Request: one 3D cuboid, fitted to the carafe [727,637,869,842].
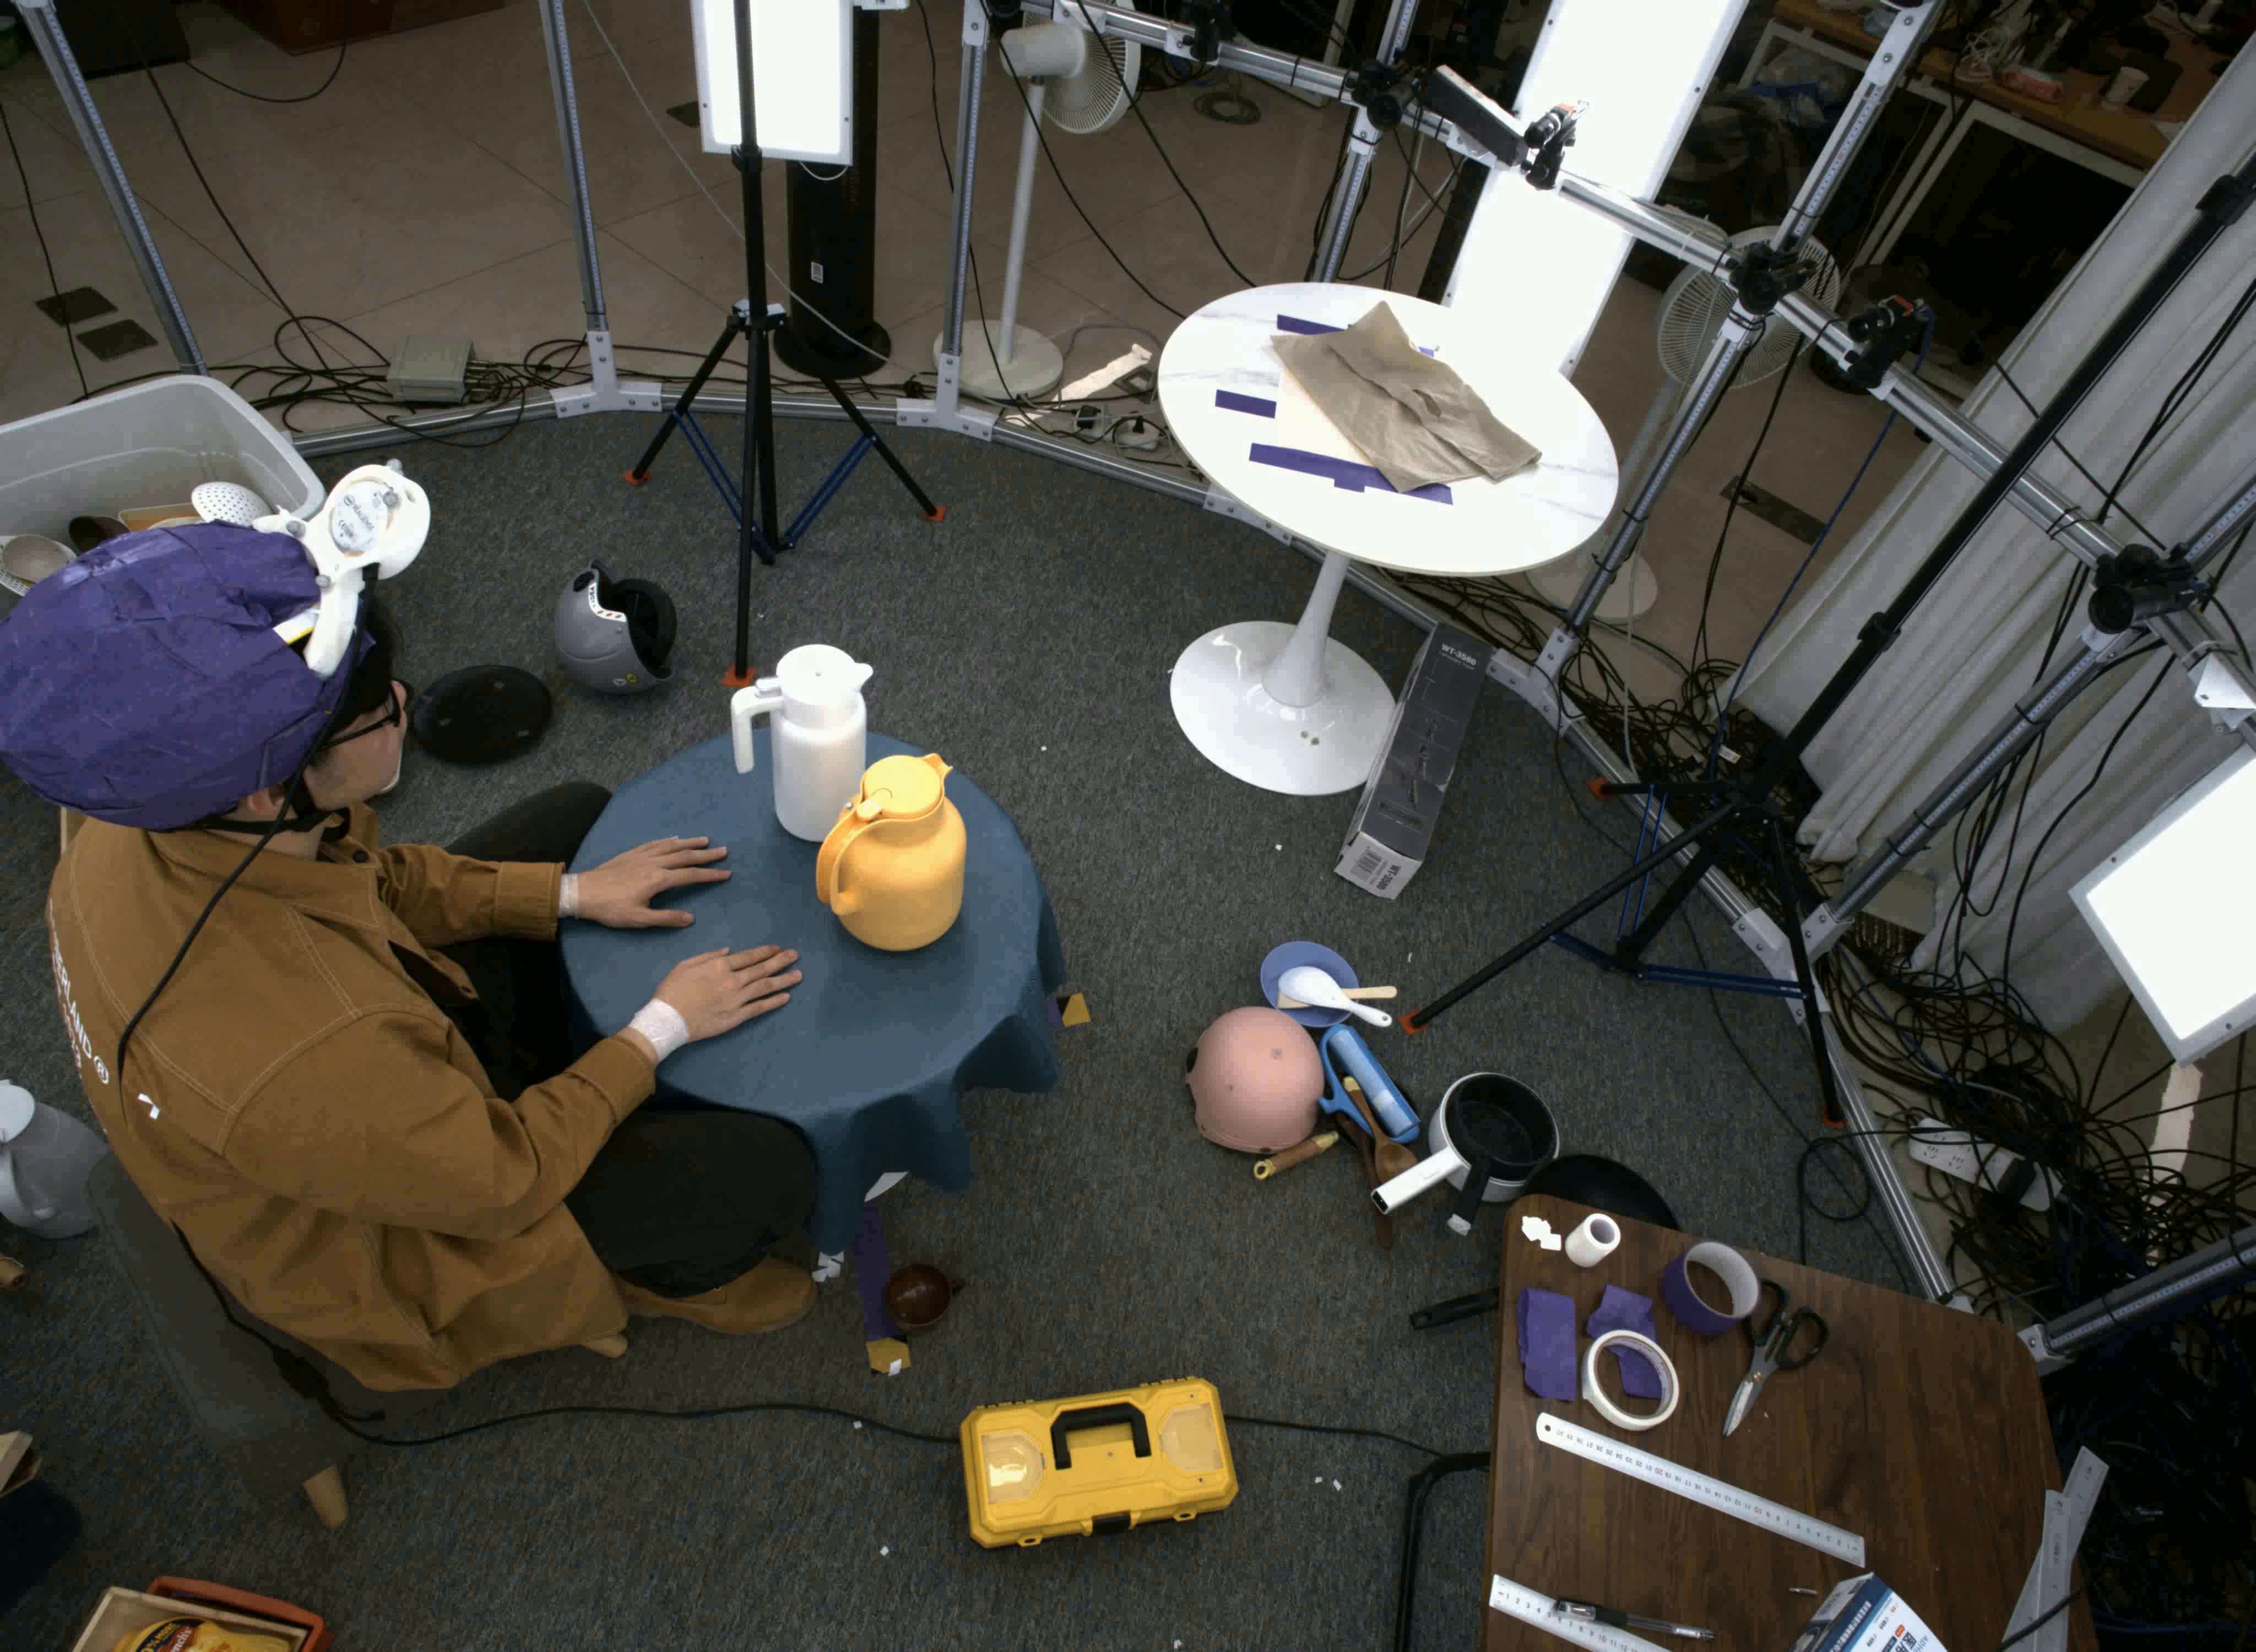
[{"bbox_3d":[-0.408,-0.101,1.627,0.173,0.274,0.121,-15,59,-22],"label":"carafe"}]

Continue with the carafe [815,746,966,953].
[{"bbox_3d":[-0.290,0.031,1.561,0.159,0.267,0.203,37,52,21],"label":"carafe"}]
